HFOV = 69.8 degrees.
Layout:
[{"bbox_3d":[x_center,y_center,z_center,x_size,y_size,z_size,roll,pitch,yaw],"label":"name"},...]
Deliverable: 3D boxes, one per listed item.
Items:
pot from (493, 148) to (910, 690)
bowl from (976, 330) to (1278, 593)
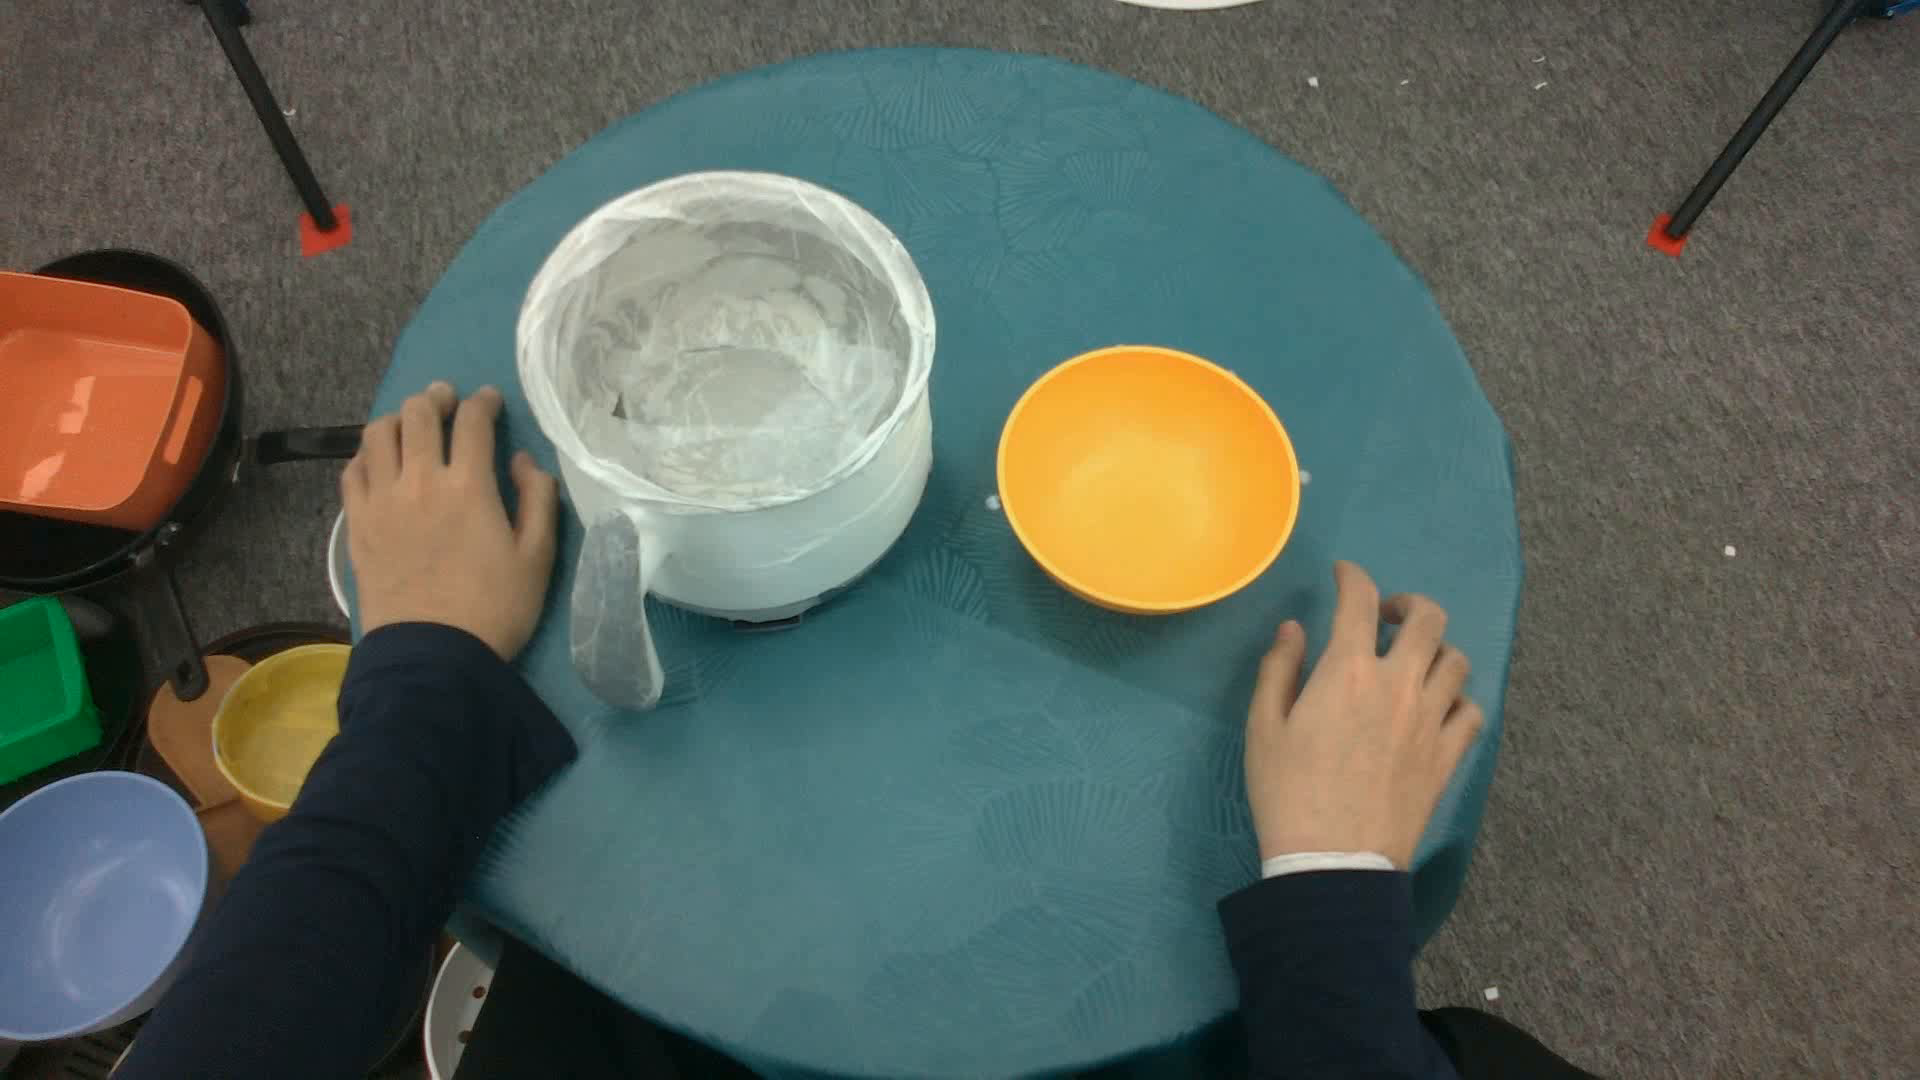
[{"bbox_3d":[-0.122,-0.049,0.634,0.178,0.136,0.235,18,63,8],"label":"pot"},{"bbox_3d":[0.079,-0.030,0.681,0.145,0.060,0.146,1,62,-2],"label":"bowl"}]
